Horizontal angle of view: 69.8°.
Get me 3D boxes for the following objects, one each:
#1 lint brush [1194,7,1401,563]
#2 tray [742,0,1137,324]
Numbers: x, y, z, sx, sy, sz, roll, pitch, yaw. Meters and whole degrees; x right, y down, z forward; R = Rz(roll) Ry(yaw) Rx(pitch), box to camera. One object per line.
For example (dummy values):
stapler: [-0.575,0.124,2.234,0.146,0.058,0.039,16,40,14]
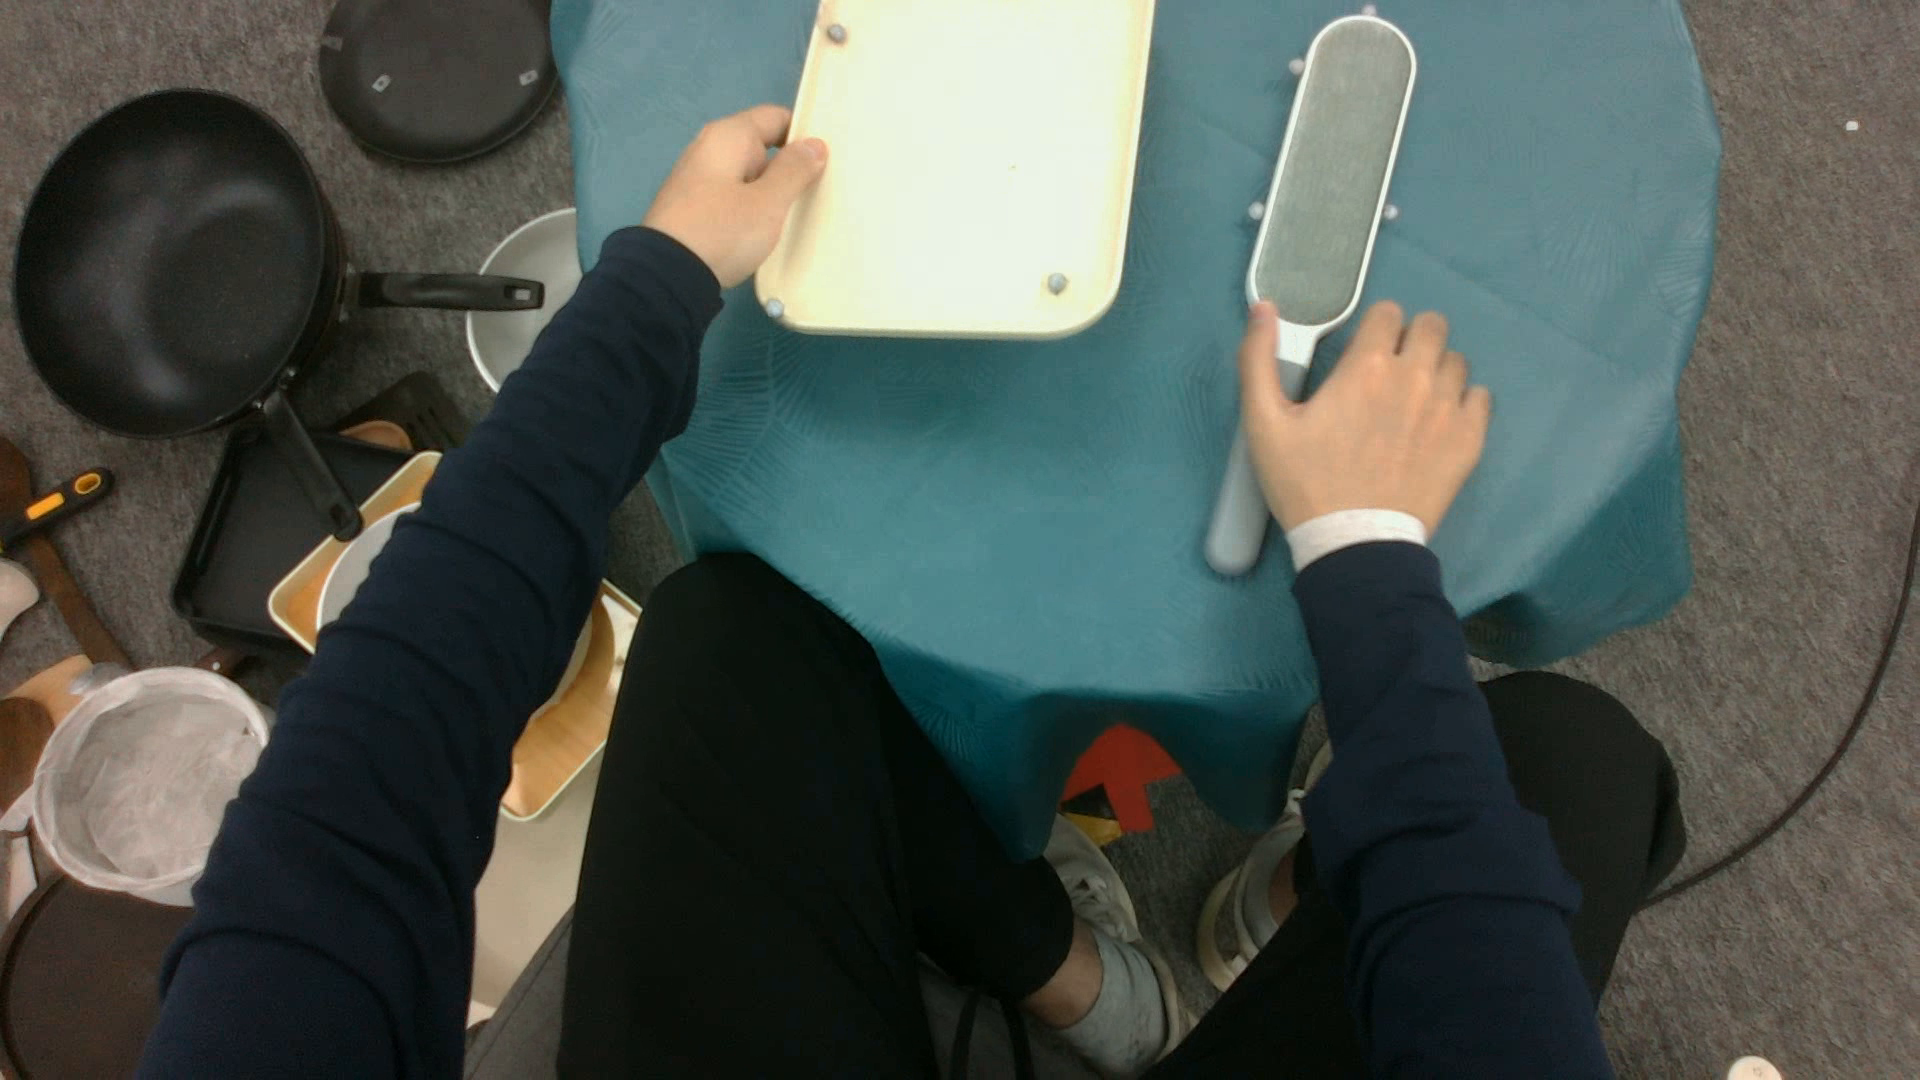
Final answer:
lint brush: [0.165,-0.134,0.695,0.060,0.021,0.309,17,78,-1]
tray: [-0.005,-0.201,0.659,0.171,0.017,0.240,3,64,12]
